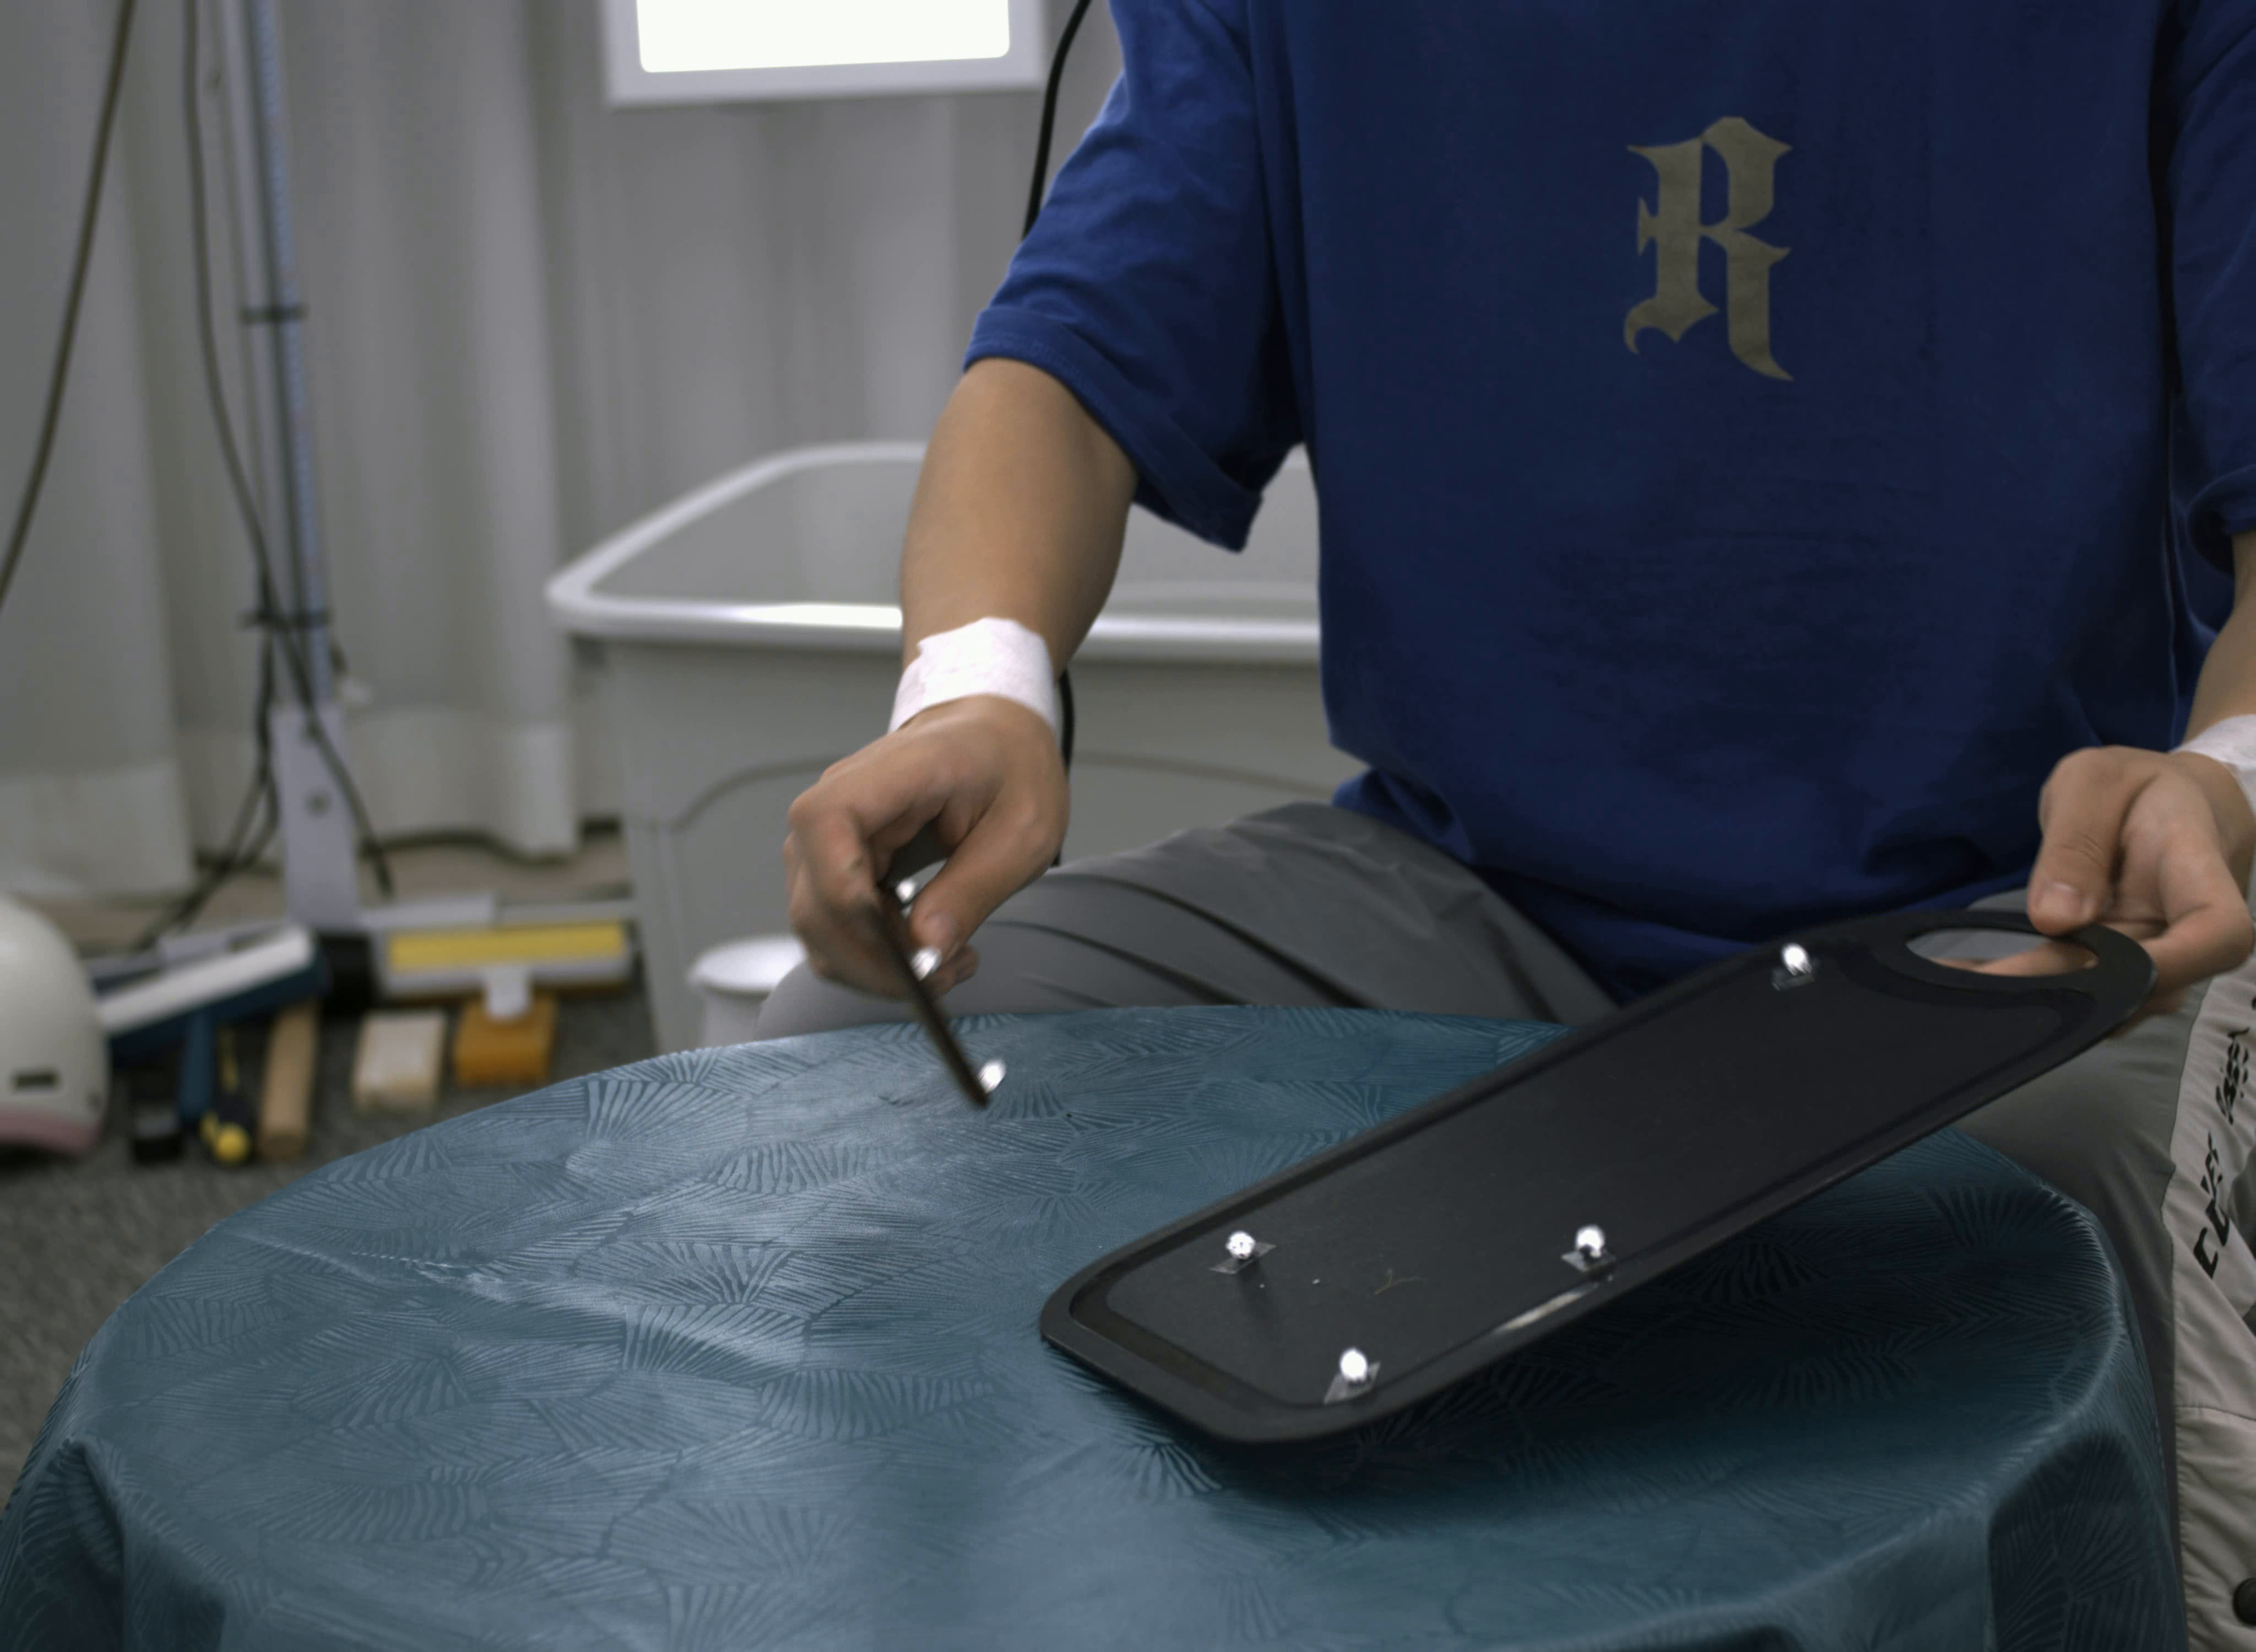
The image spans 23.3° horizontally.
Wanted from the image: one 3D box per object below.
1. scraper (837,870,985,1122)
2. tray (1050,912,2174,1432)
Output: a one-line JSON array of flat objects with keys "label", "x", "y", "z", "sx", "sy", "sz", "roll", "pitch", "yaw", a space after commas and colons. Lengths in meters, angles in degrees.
[{"label": "scraper", "x": -0.072, "y": 0.043, "z": 1.720, "sx": 0.011, "sy": 0.075, "sz": 0.212, "roll": -32, "pitch": 10, "yaw": 1}, {"label": "tray", "x": 0.142, "y": 0.090, "z": 1.574, "sx": 0.325, "sy": 0.010, "sz": 0.212, "roll": -24, "pitch": 14, "yaw": -18}]
